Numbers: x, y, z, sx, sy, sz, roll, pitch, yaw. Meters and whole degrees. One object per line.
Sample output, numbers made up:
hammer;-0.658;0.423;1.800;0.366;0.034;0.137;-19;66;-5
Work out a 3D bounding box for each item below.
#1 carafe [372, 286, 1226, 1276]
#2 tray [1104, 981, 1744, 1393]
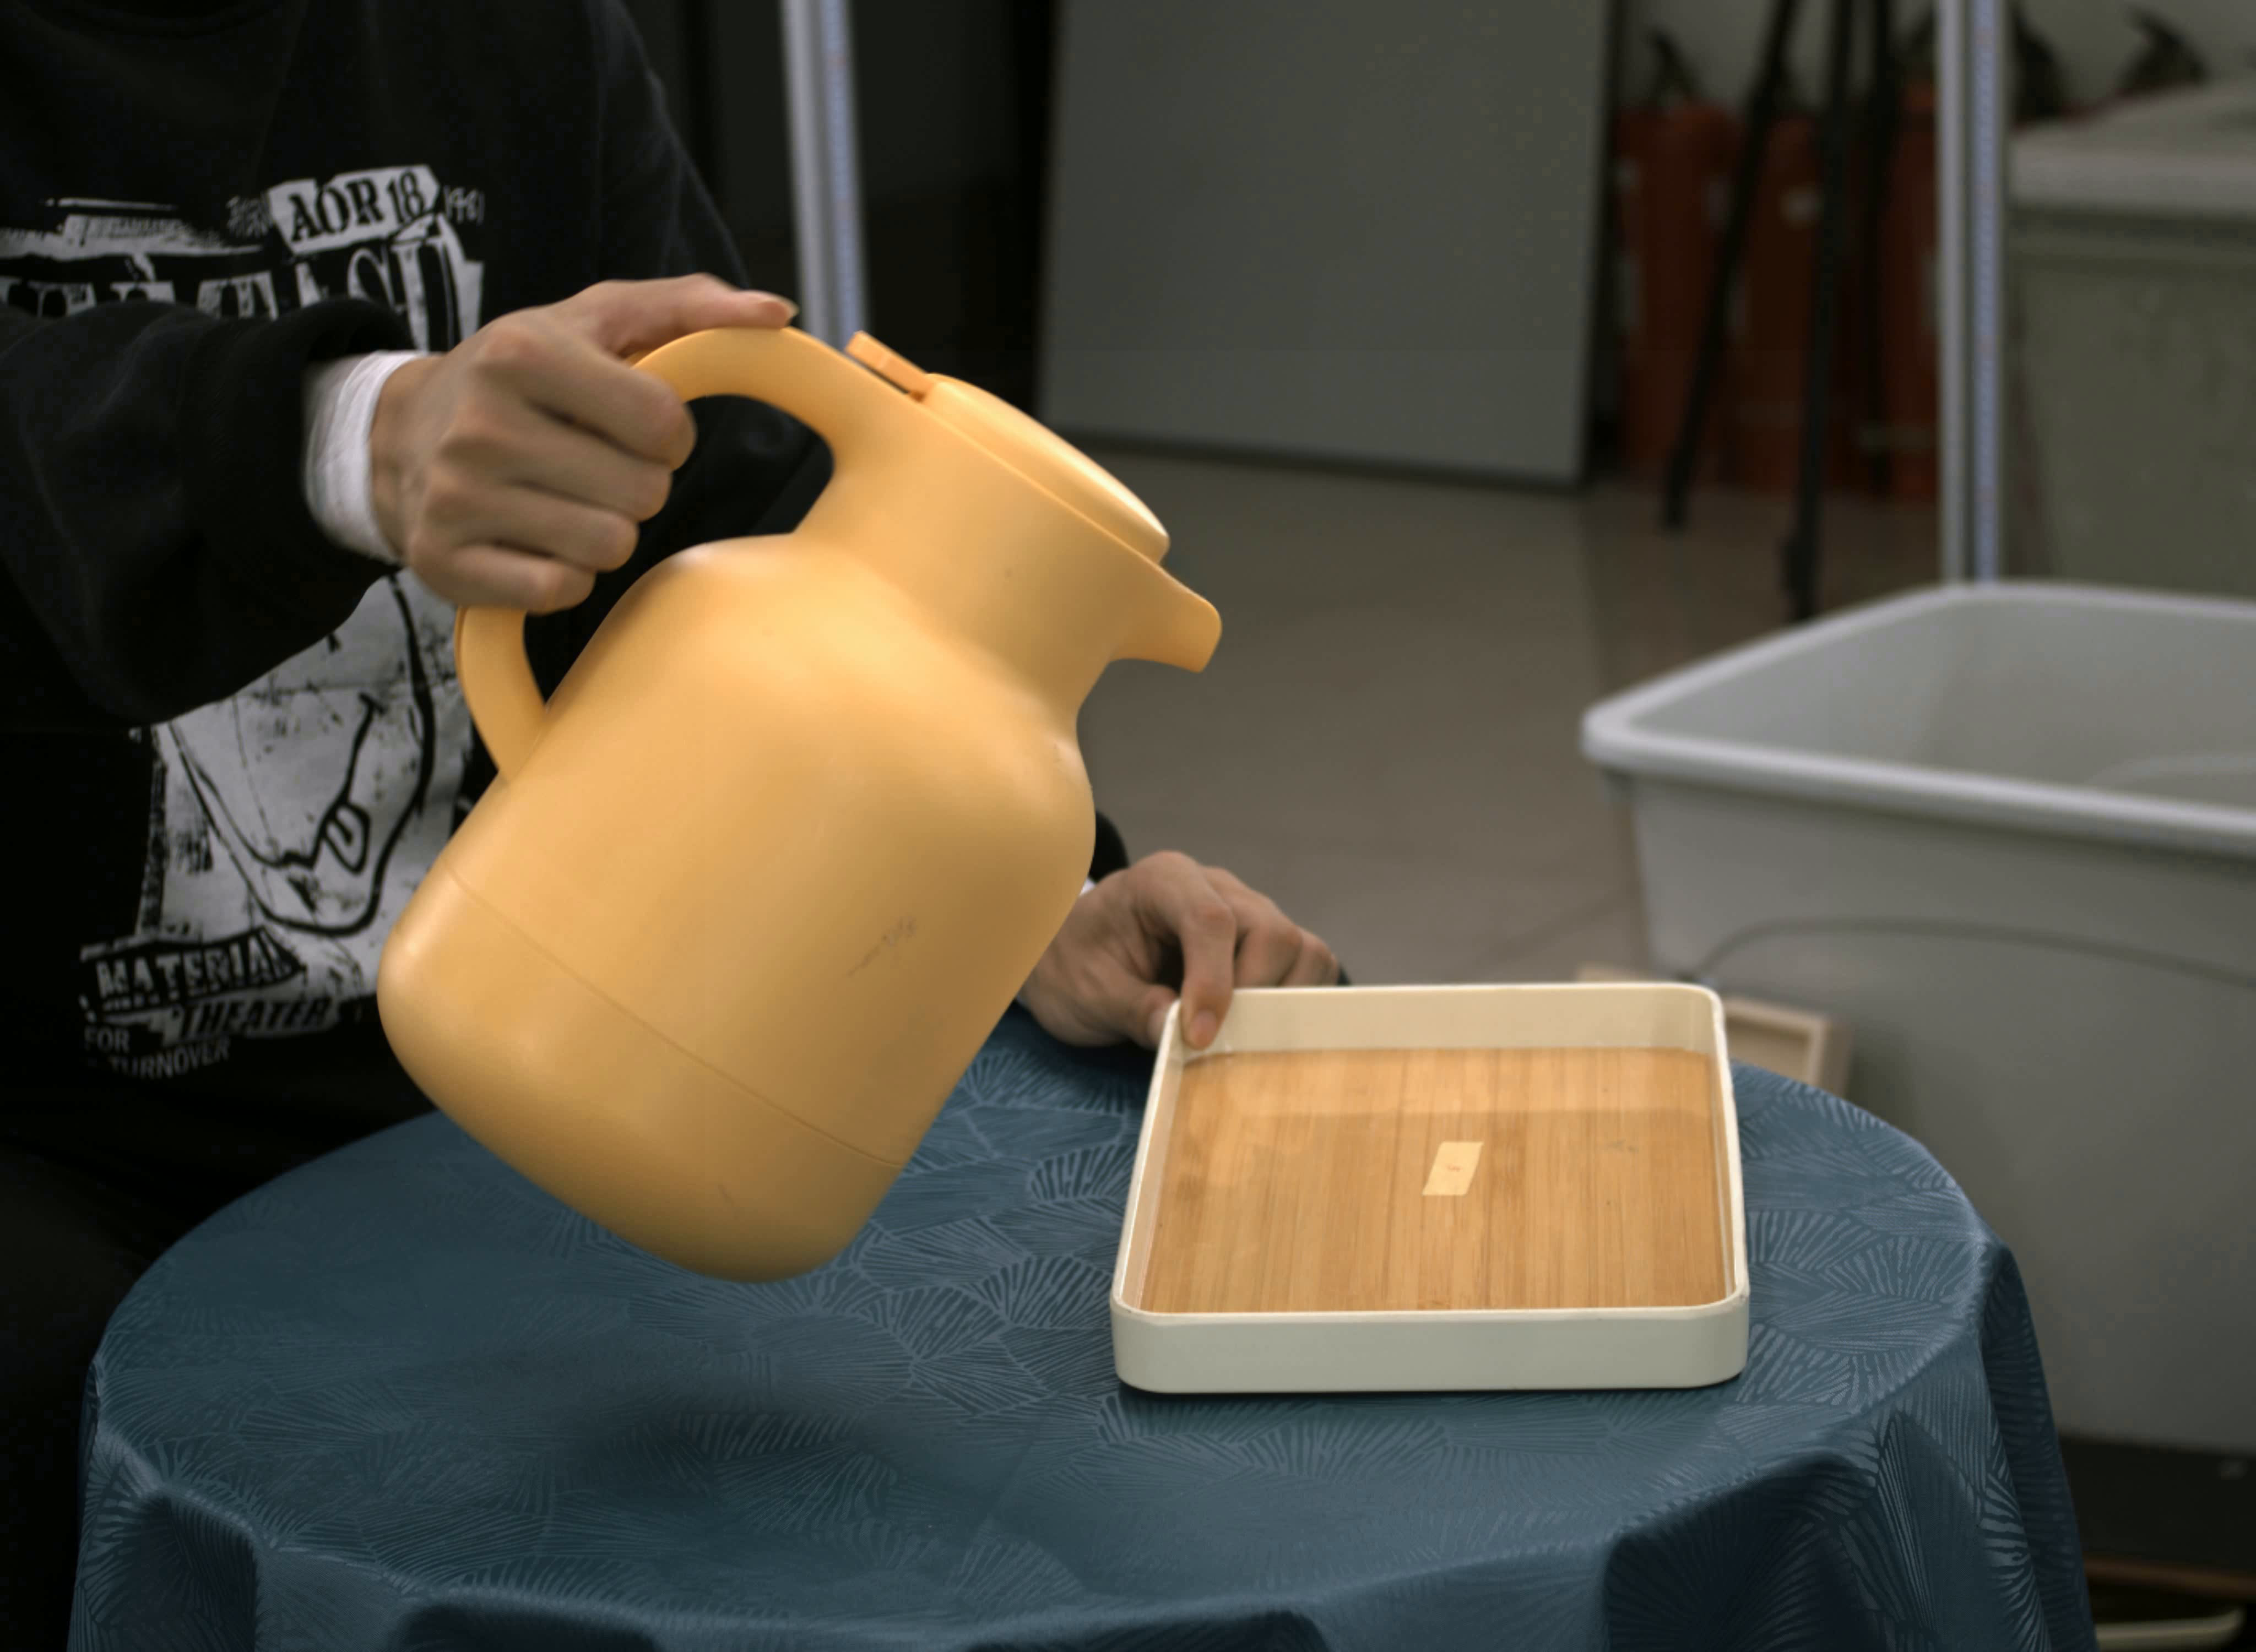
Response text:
carafe;-0.107;-0.022;1.557;0.200;0.261;0.164;36;-1;-12
tray;0.097;0.110;1.703;0.190;0.028;0.300;-1;17;6
